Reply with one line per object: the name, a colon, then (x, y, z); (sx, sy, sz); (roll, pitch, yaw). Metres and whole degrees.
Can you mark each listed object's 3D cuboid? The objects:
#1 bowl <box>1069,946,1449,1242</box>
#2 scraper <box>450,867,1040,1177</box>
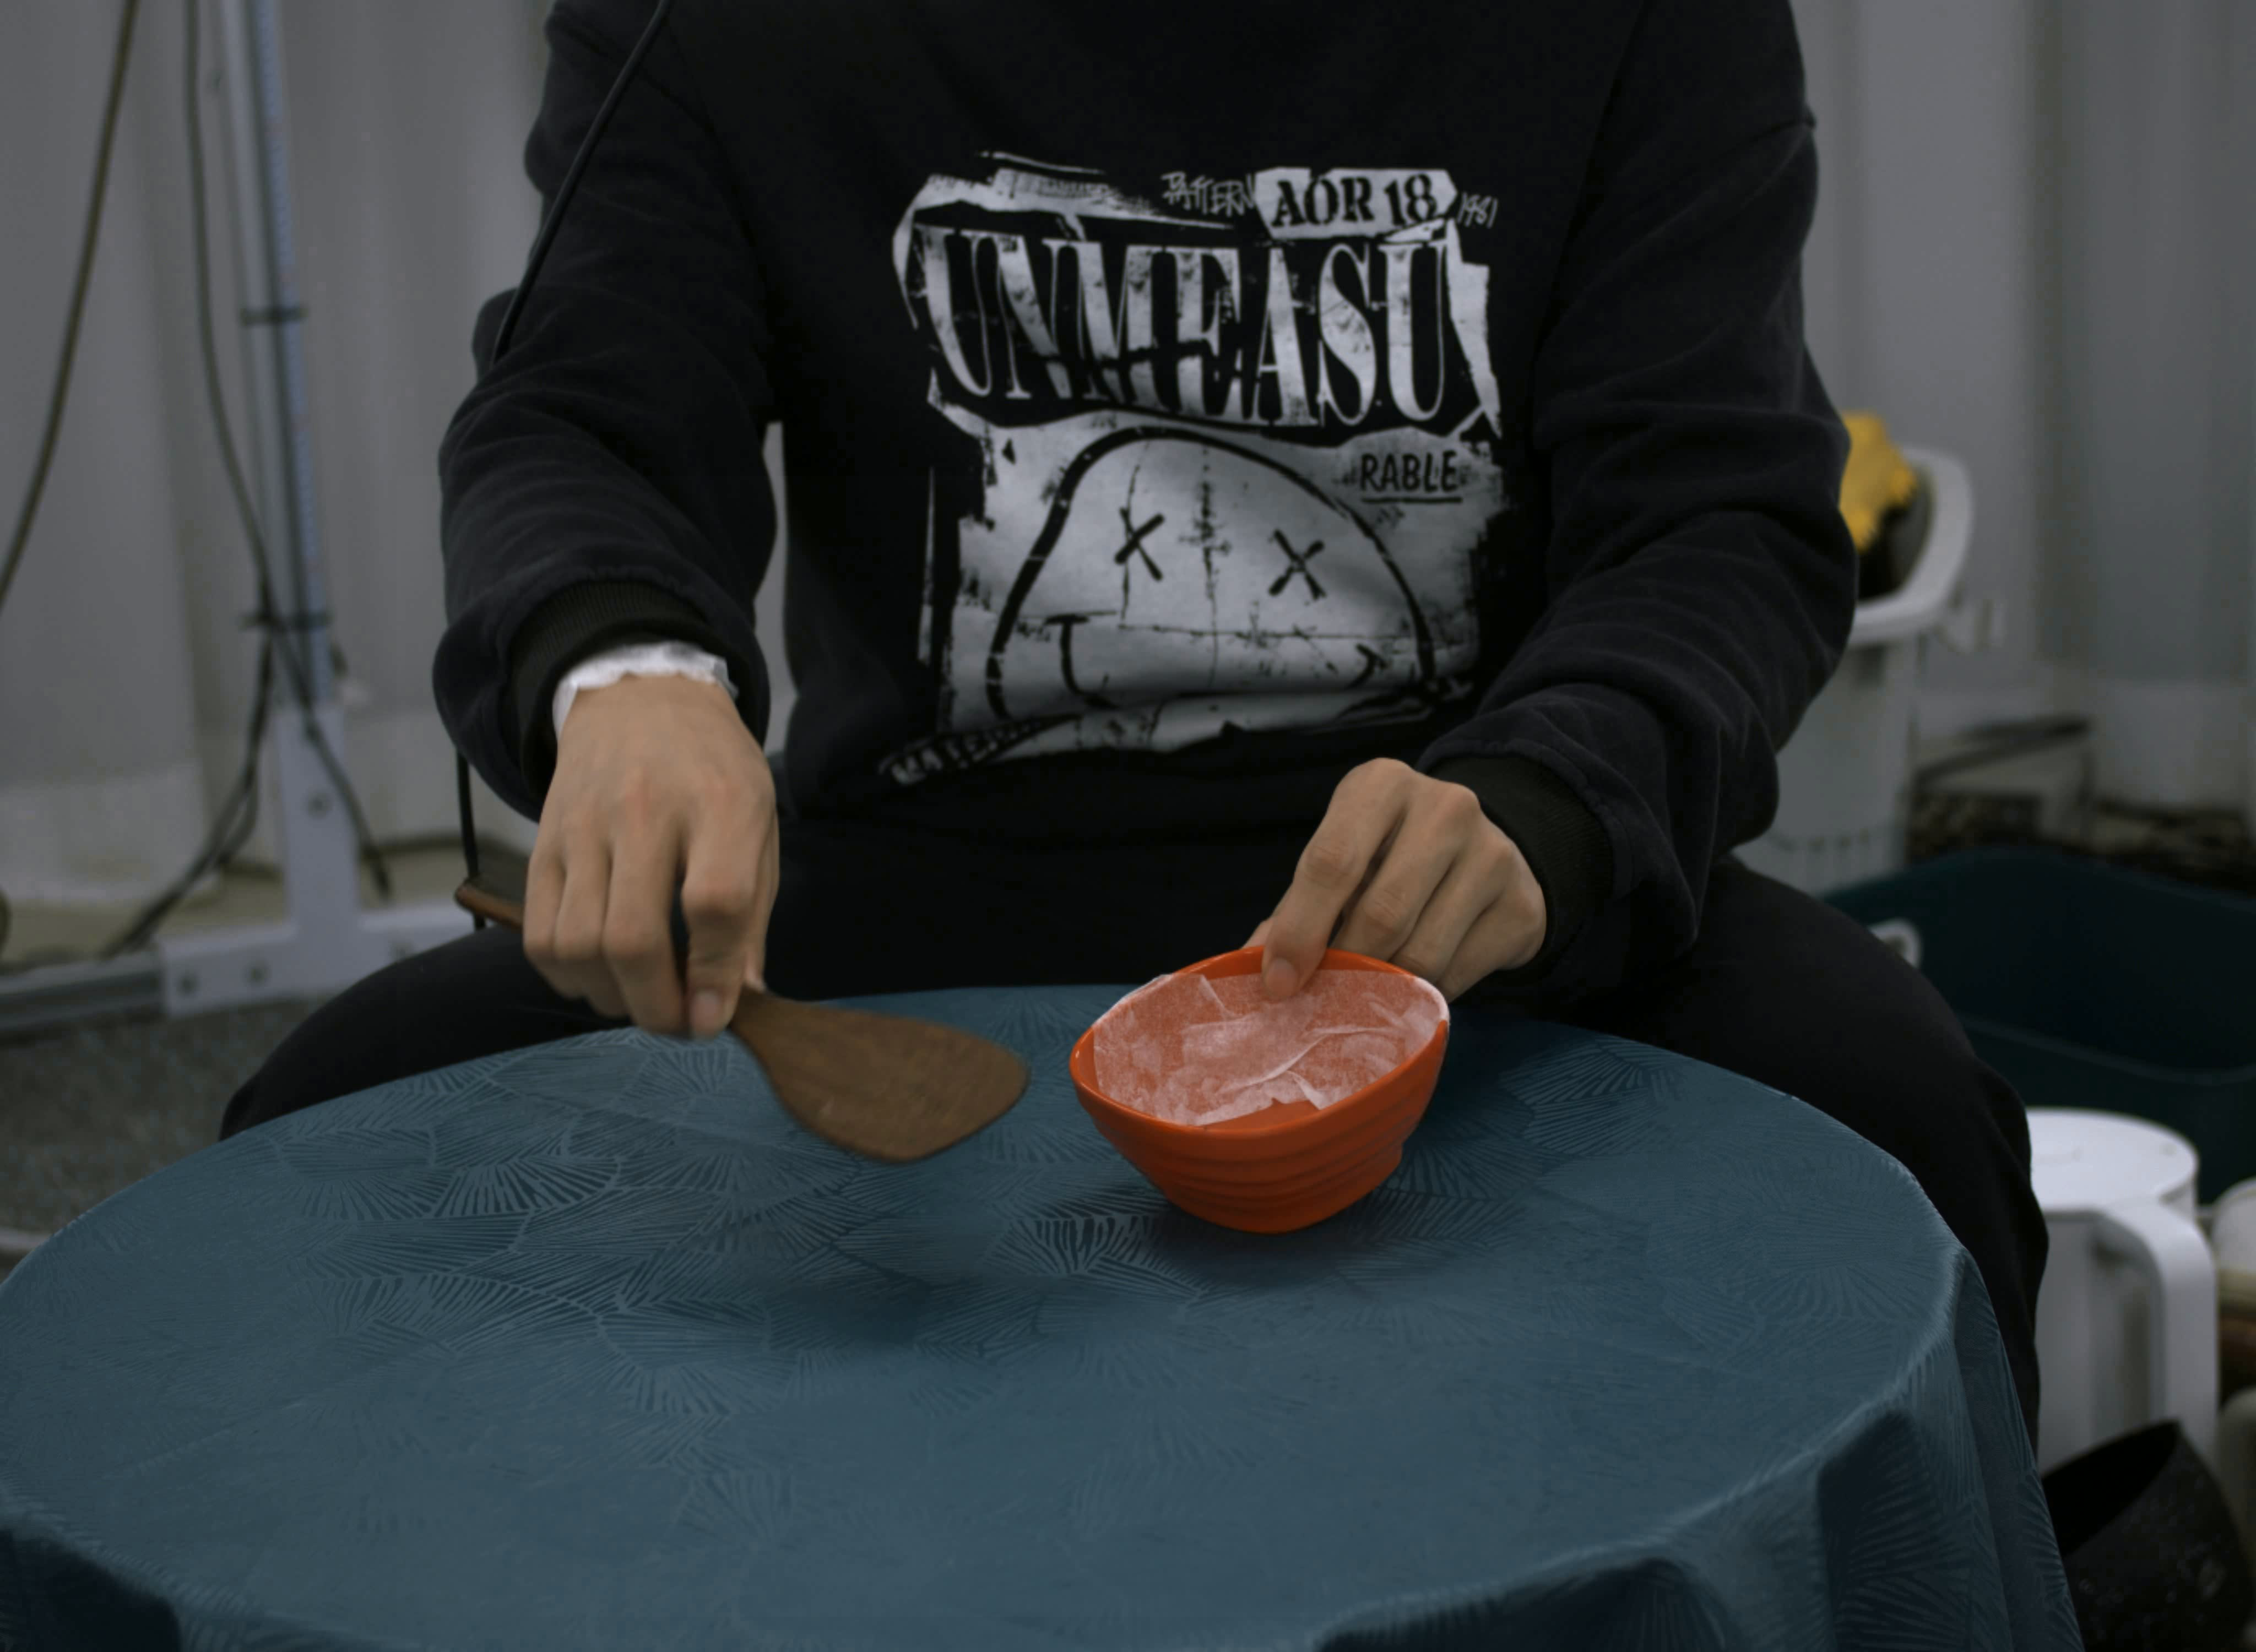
bowl: (0.044, 0.087, 1.690); (0.118, 0.051, 0.120); (-9, 27, 4)
scraper: (-0.124, 0.056, 1.666); (0.213, 0.011, 0.076); (25, 35, 31)
